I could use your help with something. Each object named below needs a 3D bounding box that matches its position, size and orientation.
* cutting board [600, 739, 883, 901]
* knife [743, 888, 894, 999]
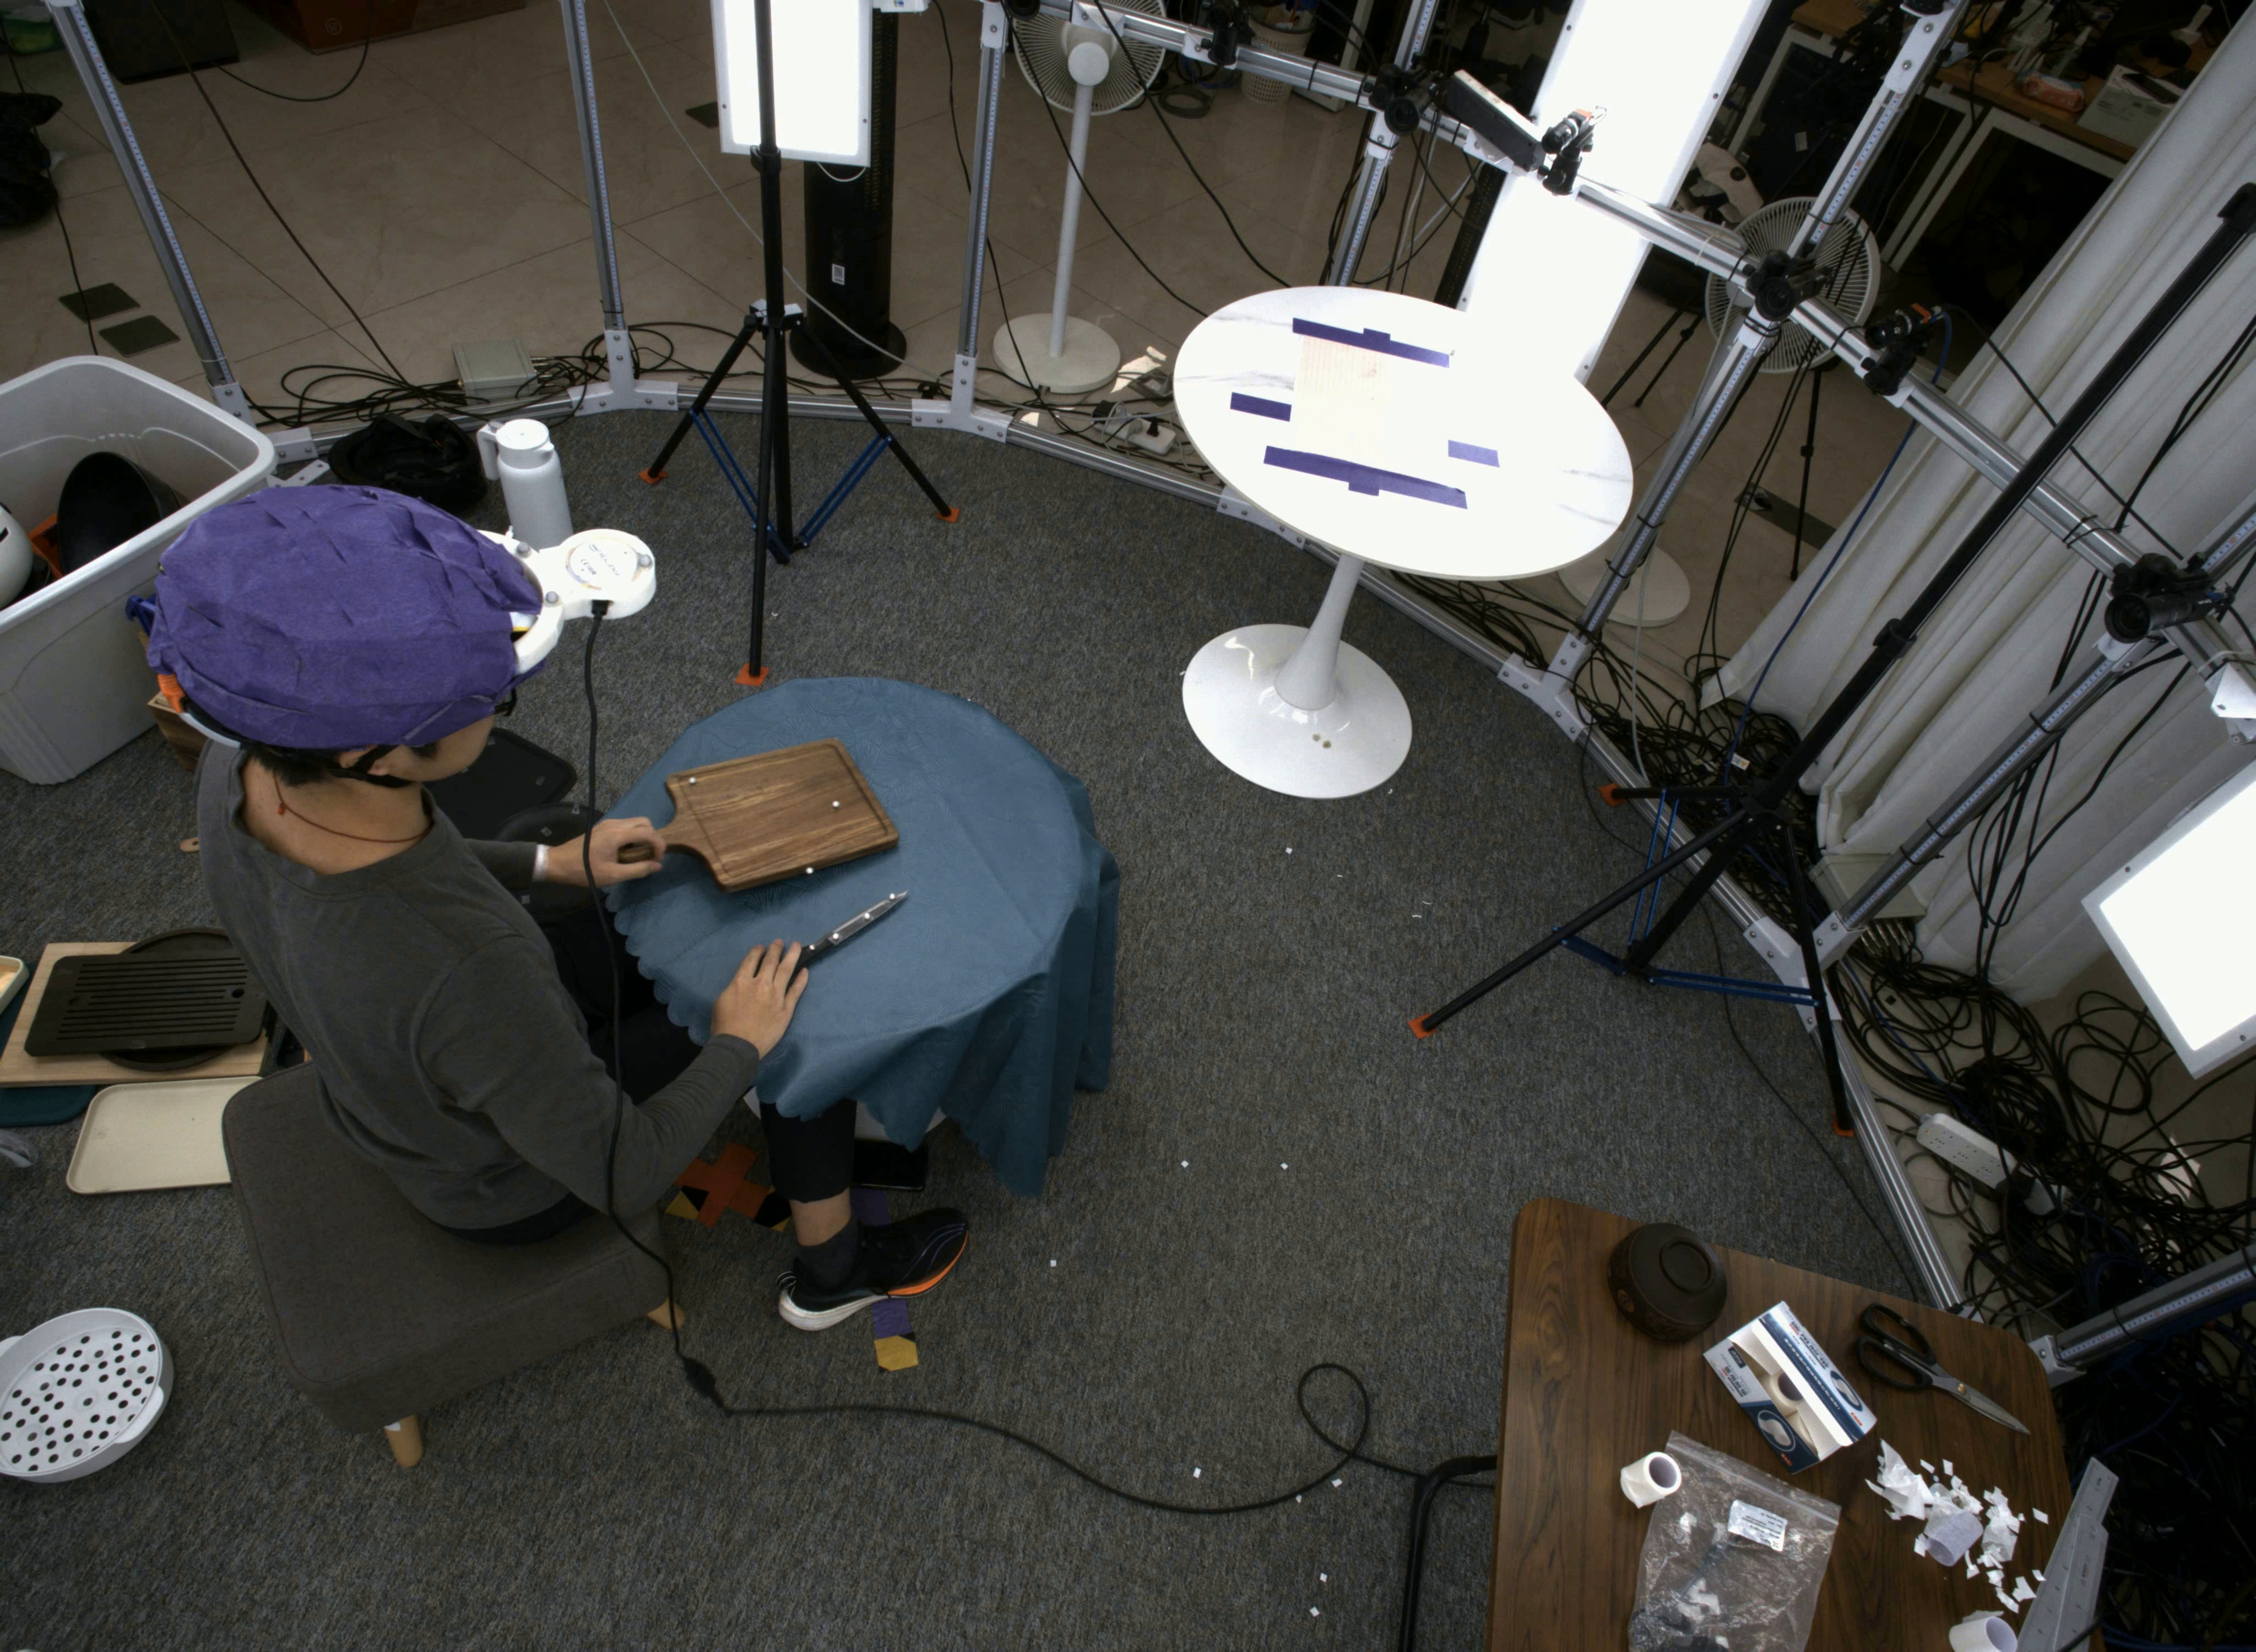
[{"bbox_3d":[-0.513,-0.003,1.667,0.355,0.023,0.196,-19,60,-36],"label":"cutting board"},{"bbox_3d":[-0.383,0.143,1.630,0.024,0.017,0.238,38,54,21],"label":"knife"}]
